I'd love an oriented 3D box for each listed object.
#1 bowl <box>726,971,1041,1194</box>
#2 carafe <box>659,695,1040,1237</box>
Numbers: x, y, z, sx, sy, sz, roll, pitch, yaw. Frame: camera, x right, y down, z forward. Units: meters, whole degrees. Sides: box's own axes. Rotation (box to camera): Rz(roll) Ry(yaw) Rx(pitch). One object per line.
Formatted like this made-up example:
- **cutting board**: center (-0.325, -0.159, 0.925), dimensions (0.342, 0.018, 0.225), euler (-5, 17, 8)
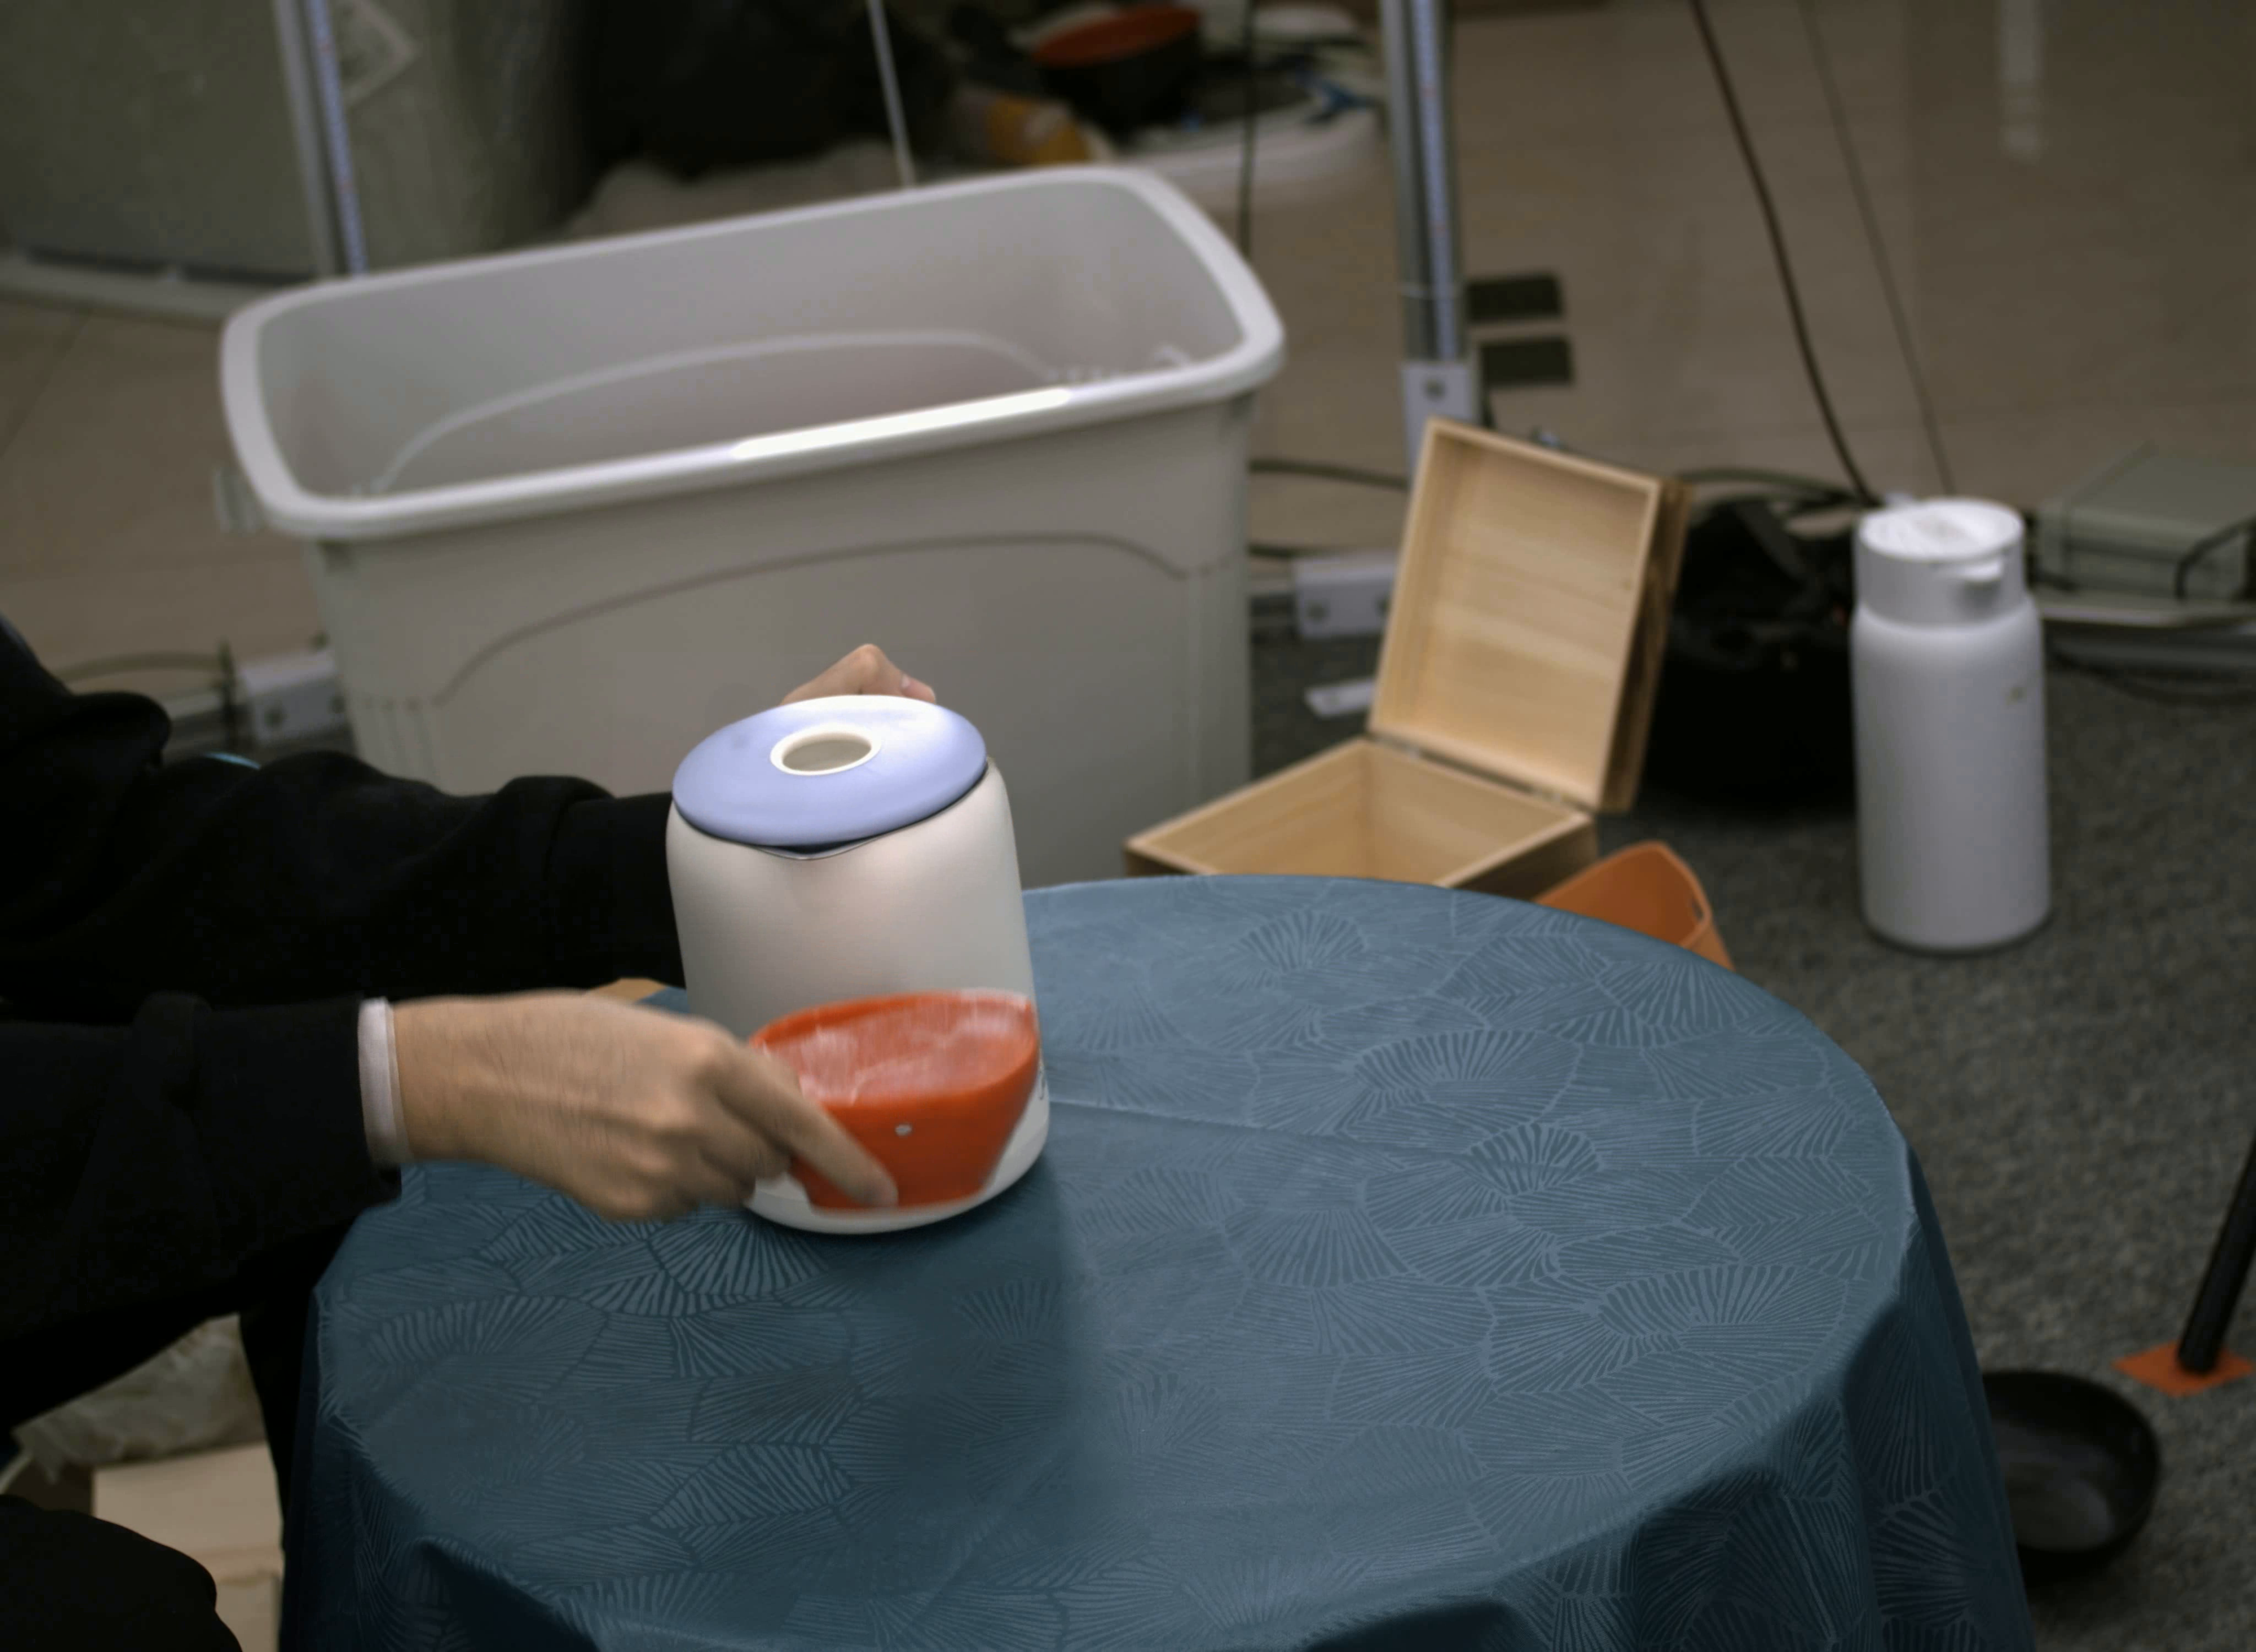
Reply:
- **bowl**: center (-0.084, 0.093, 1.990), dimensions (0.119, 0.052, 0.117), euler (-5, 19, 2)
- **carafe**: center (-0.104, 0.042, 2.161), dimensions (0.132, 0.185, 0.188), euler (-4, 25, 3)
